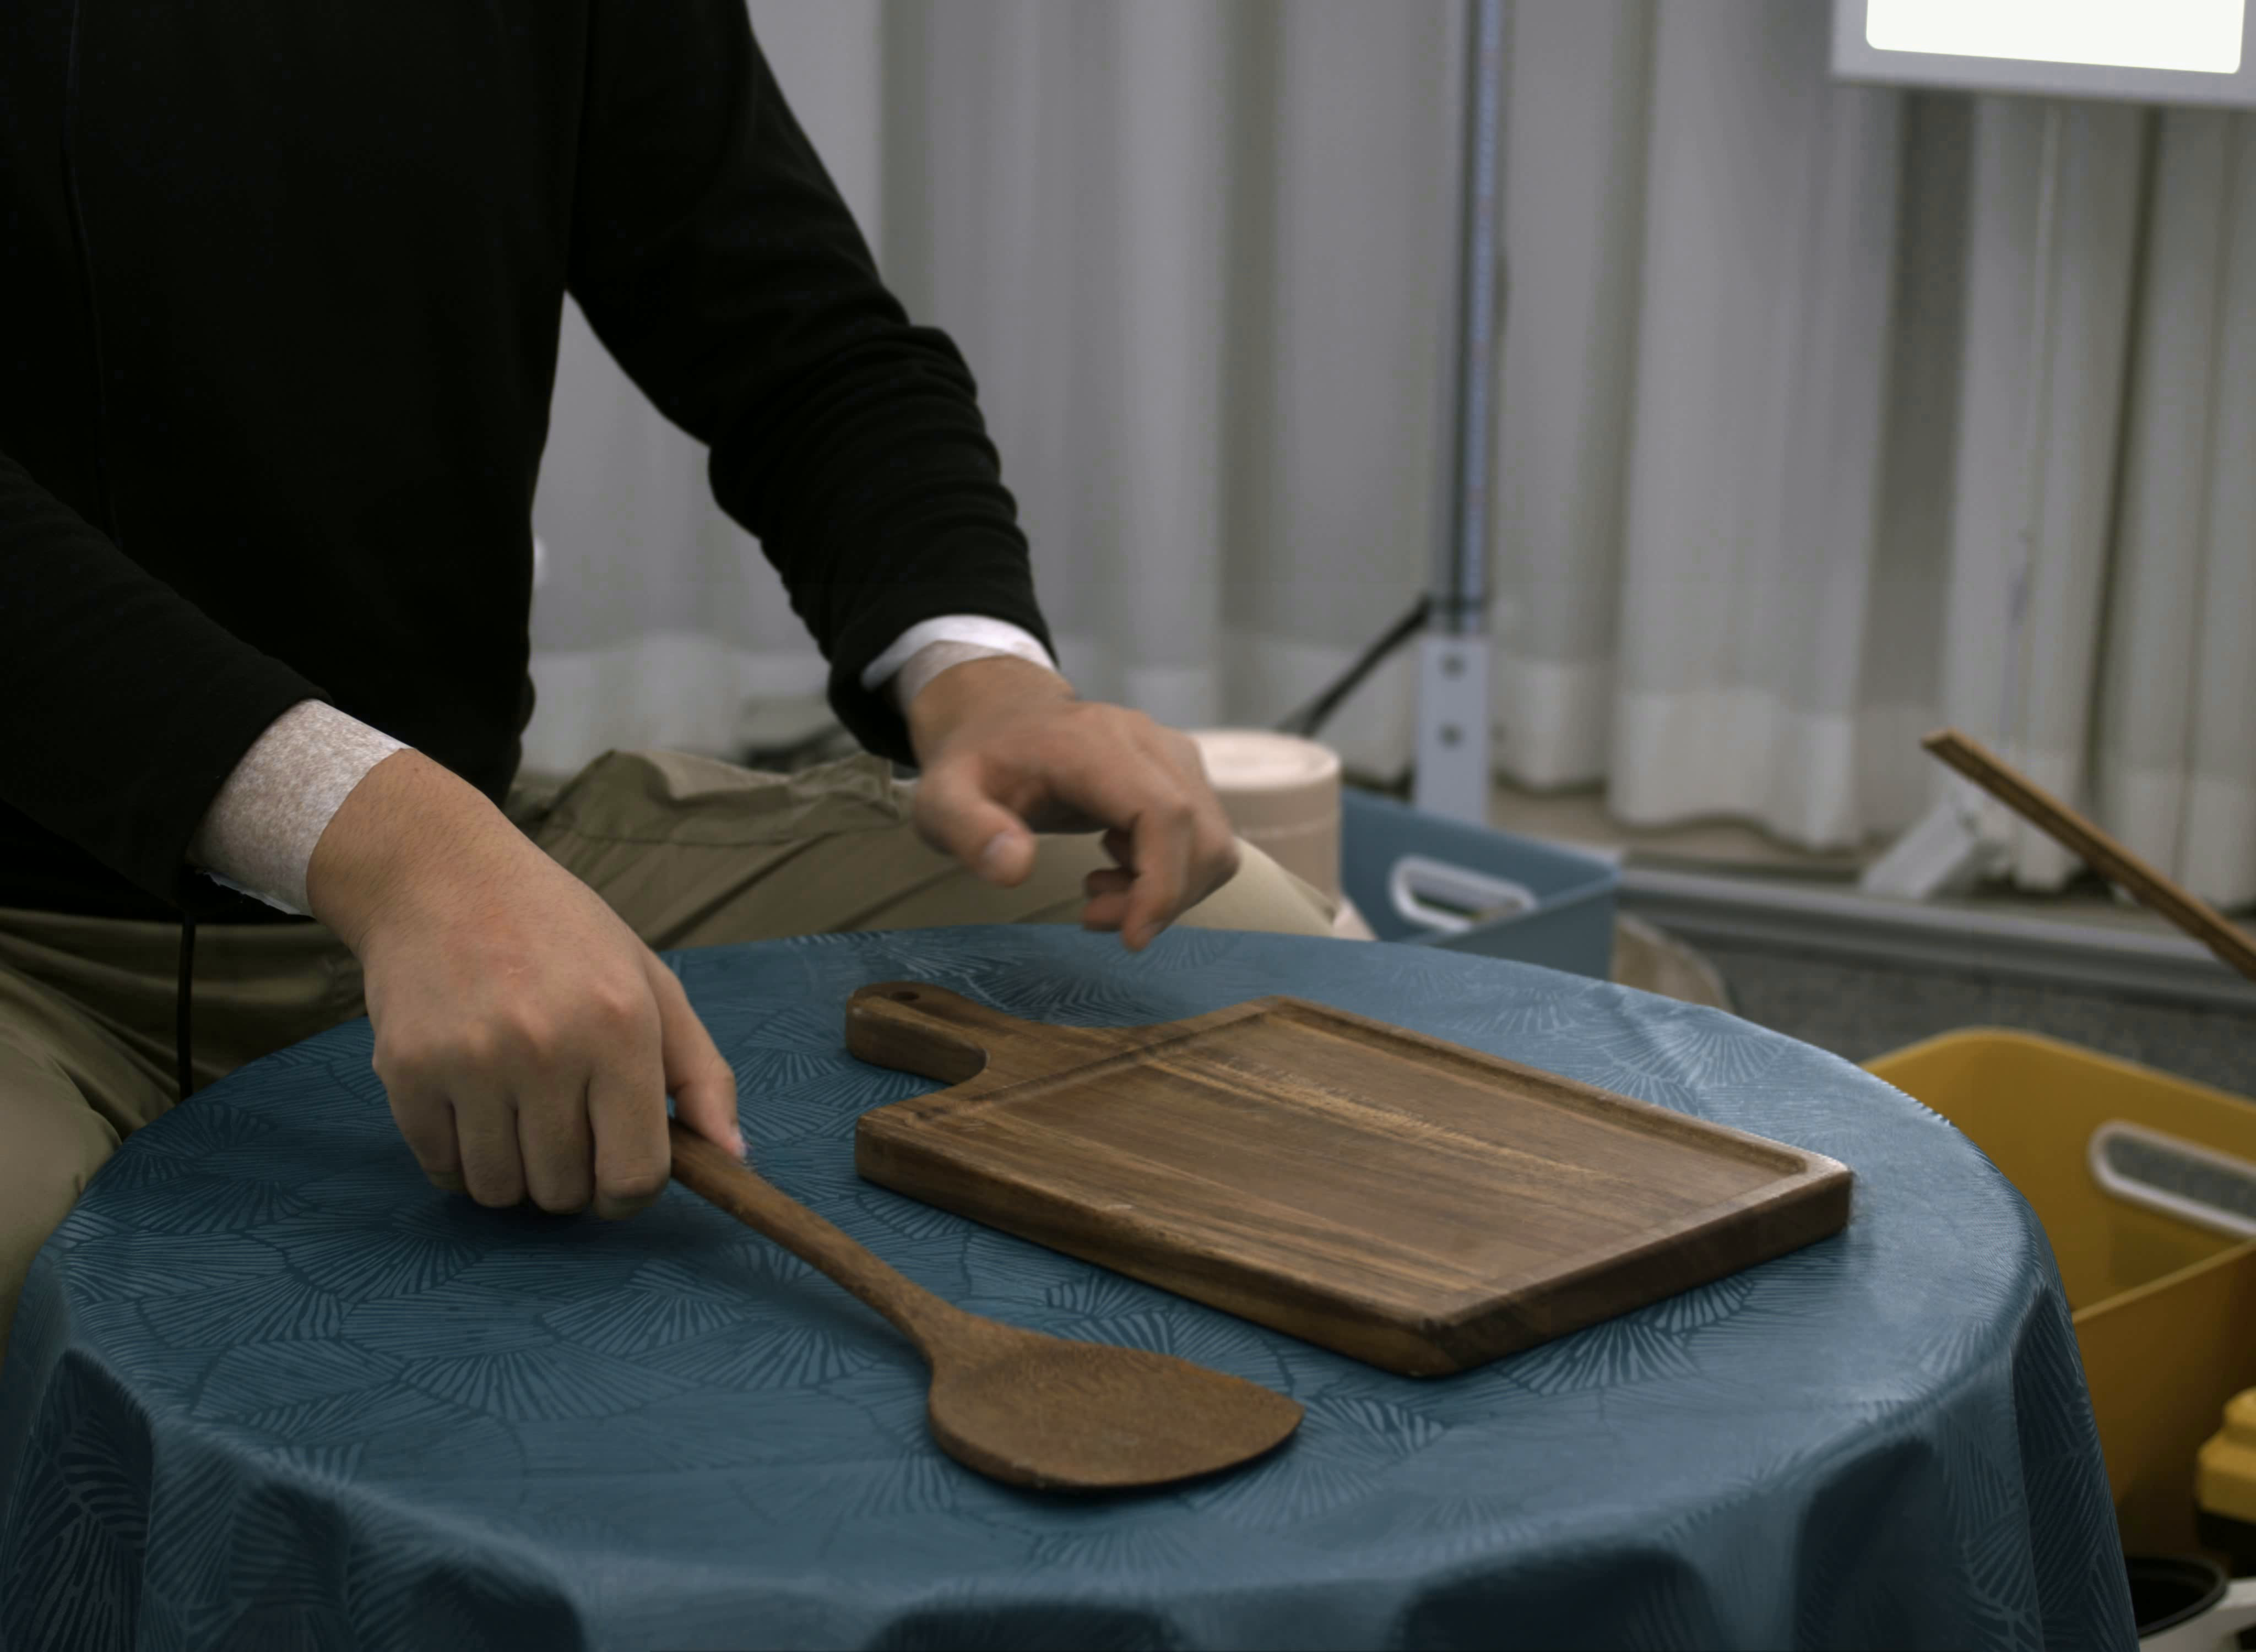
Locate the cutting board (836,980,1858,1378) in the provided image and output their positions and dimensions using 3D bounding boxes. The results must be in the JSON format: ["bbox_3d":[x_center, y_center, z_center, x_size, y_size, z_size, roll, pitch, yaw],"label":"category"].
[{"bbox_3d":[0.034,0.095,1.645,0.202,0.023,0.347,-14,21,-43],"label":"cutting board"}]

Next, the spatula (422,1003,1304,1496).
[{"bbox_3d":[-0.099,0.115,1.529,0.096,0.016,0.380,-10,25,-38],"label":"spatula"}]
